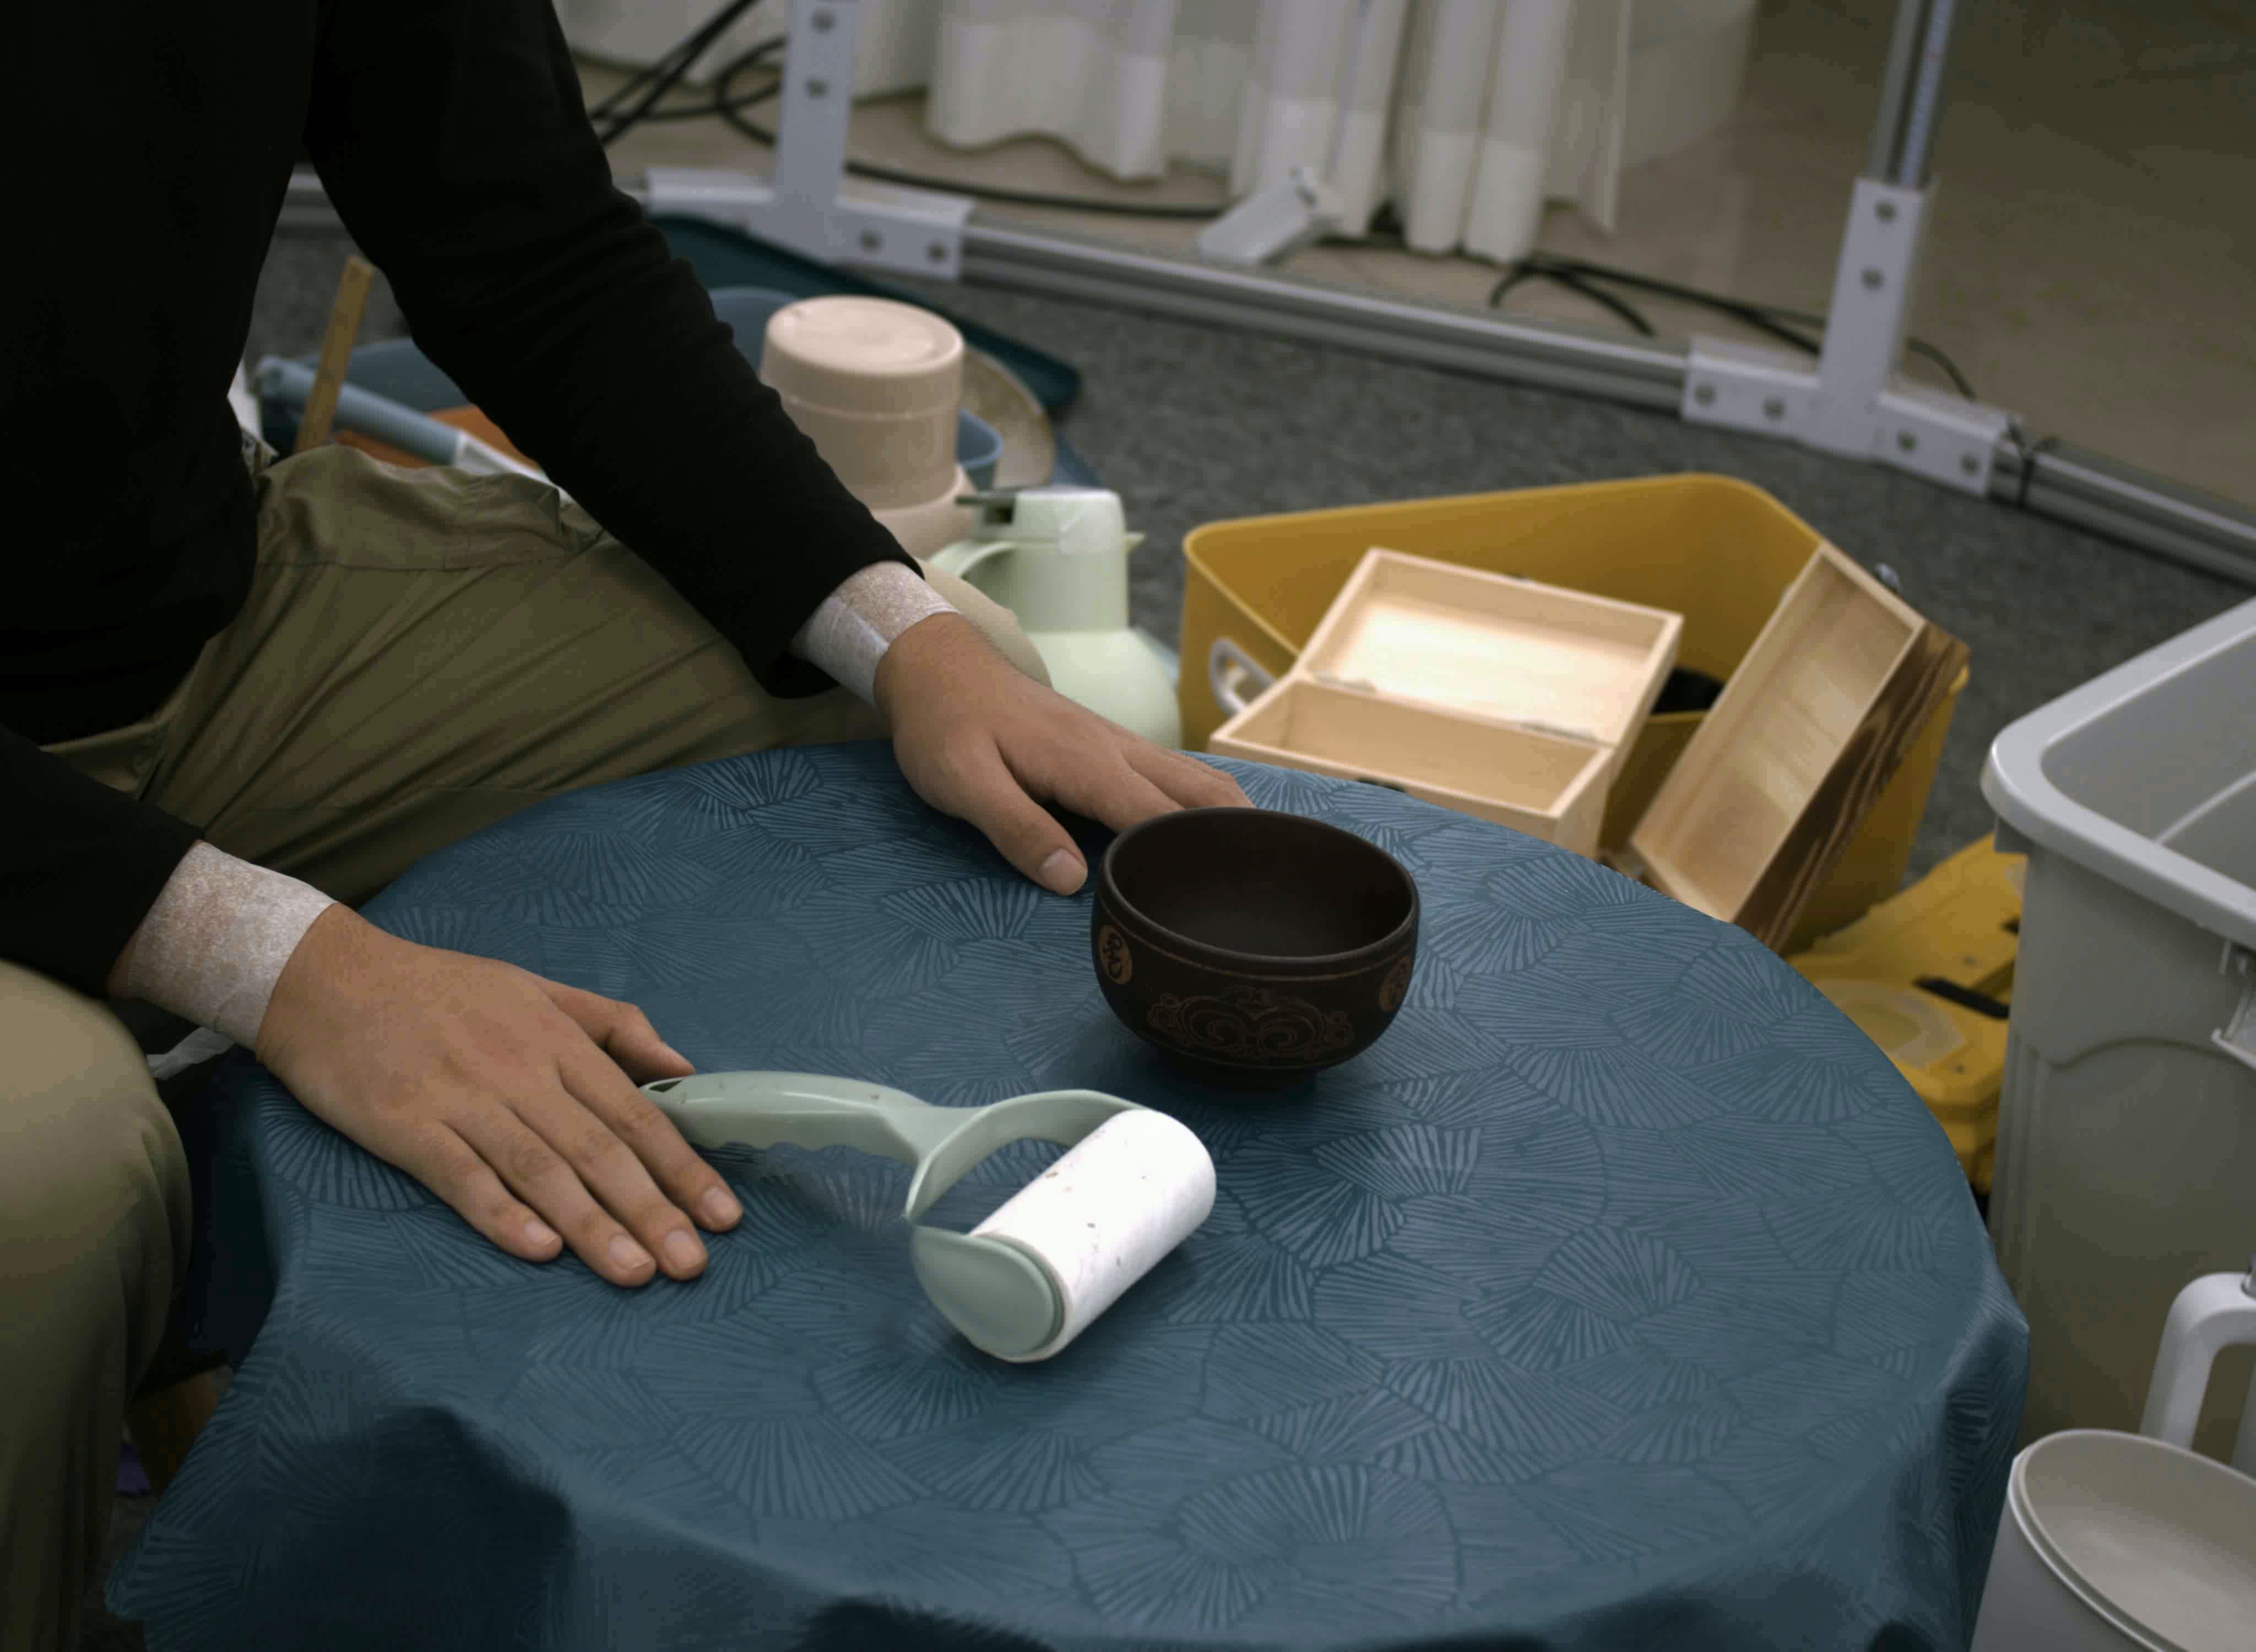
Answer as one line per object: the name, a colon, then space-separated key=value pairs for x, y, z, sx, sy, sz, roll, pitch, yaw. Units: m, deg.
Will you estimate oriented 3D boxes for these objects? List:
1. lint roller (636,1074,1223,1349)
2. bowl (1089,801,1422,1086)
lint roller: x=-0.075 y=0.109 z=1.765 sx=0.198 sy=0.048 sz=0.116 roll=17 pitch=30 yaw=24
bowl: x=0.043 y=0.048 z=1.881 sx=0.117 sy=0.069 sz=0.119 roll=4 pitch=27 yaw=-2
